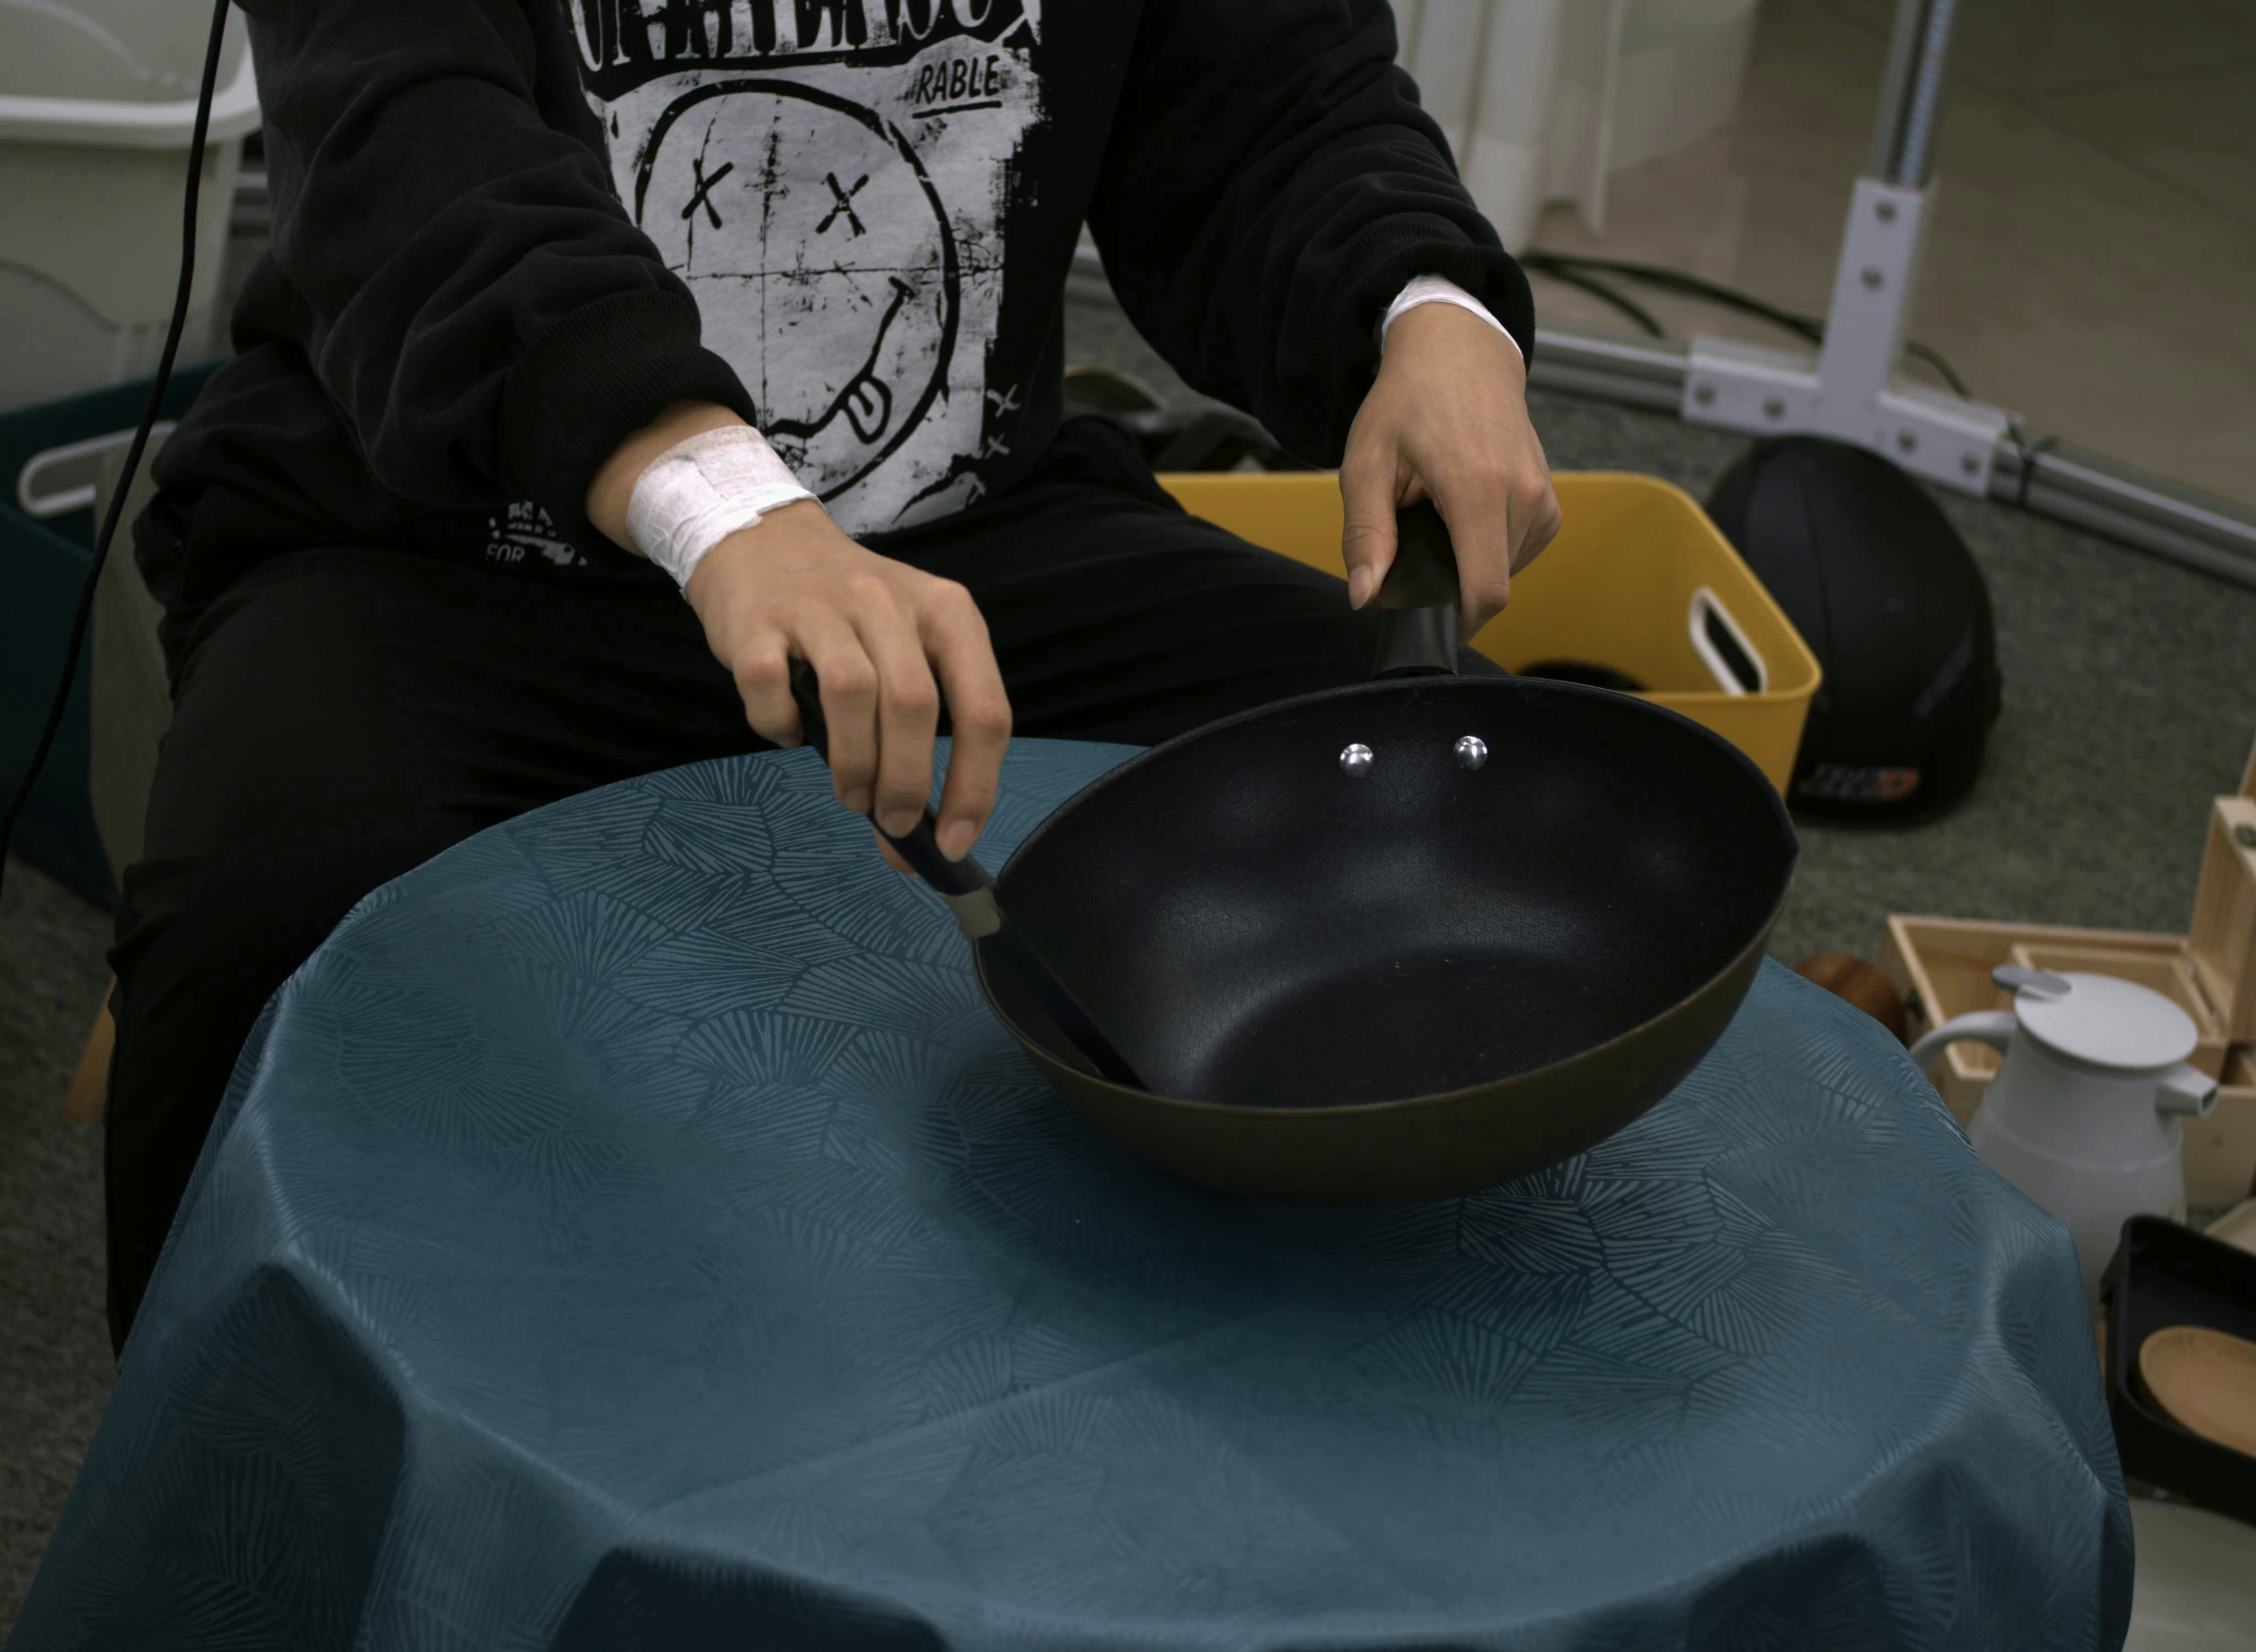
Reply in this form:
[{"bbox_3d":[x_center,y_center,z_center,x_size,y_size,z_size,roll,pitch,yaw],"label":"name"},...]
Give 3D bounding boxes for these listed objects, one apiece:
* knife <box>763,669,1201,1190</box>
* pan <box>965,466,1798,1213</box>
[{"bbox_3d":[-0.044,0.036,1.742,0.026,0.224,0.017,-28,18,45],"label":"knife"},{"bbox_3d":[0.101,0.007,1.913,0.288,0.086,0.466,-5,29,11],"label":"pan"}]
